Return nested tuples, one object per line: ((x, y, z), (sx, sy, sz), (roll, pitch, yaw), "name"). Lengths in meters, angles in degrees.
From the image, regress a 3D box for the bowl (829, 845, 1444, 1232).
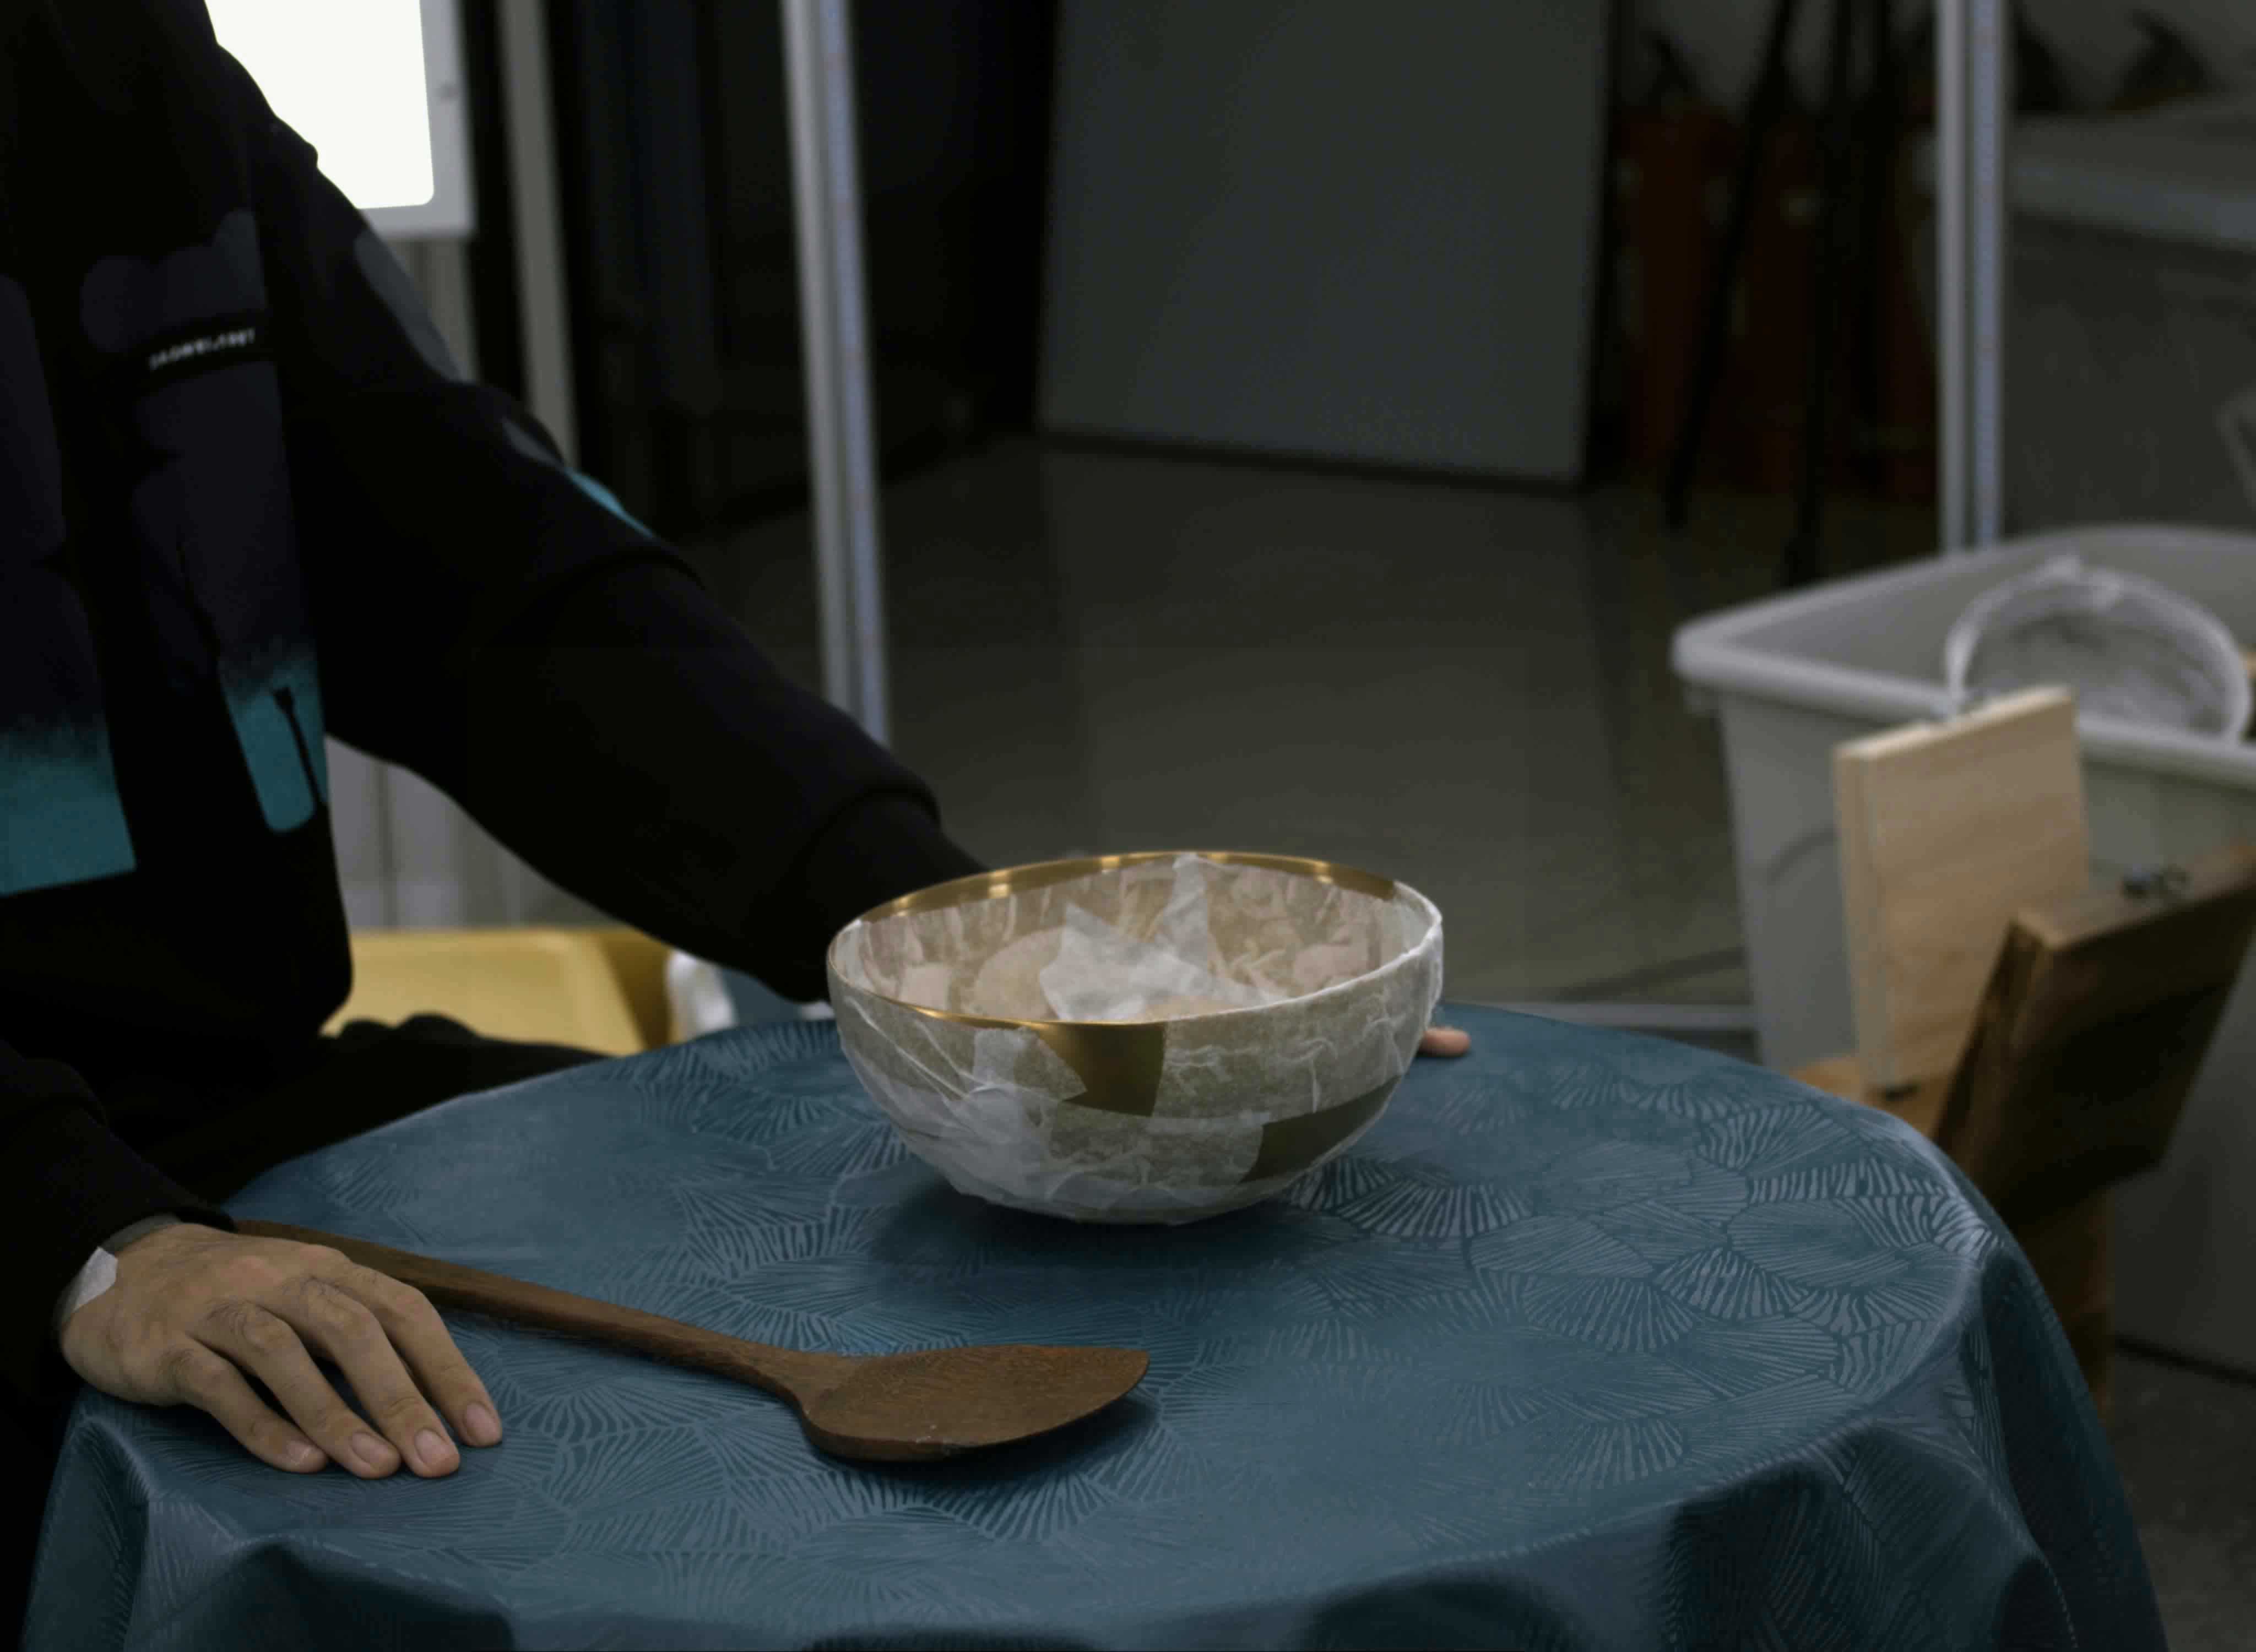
((0.004, 0.076, 1.758), (0.212, 0.095, 0.215), (-6, 14, 1), "bowl")

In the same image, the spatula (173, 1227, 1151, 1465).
((-0.160, 0.154, 1.656), (0.389, 0.016, 0.094), (7, 17, 39), "spatula")
